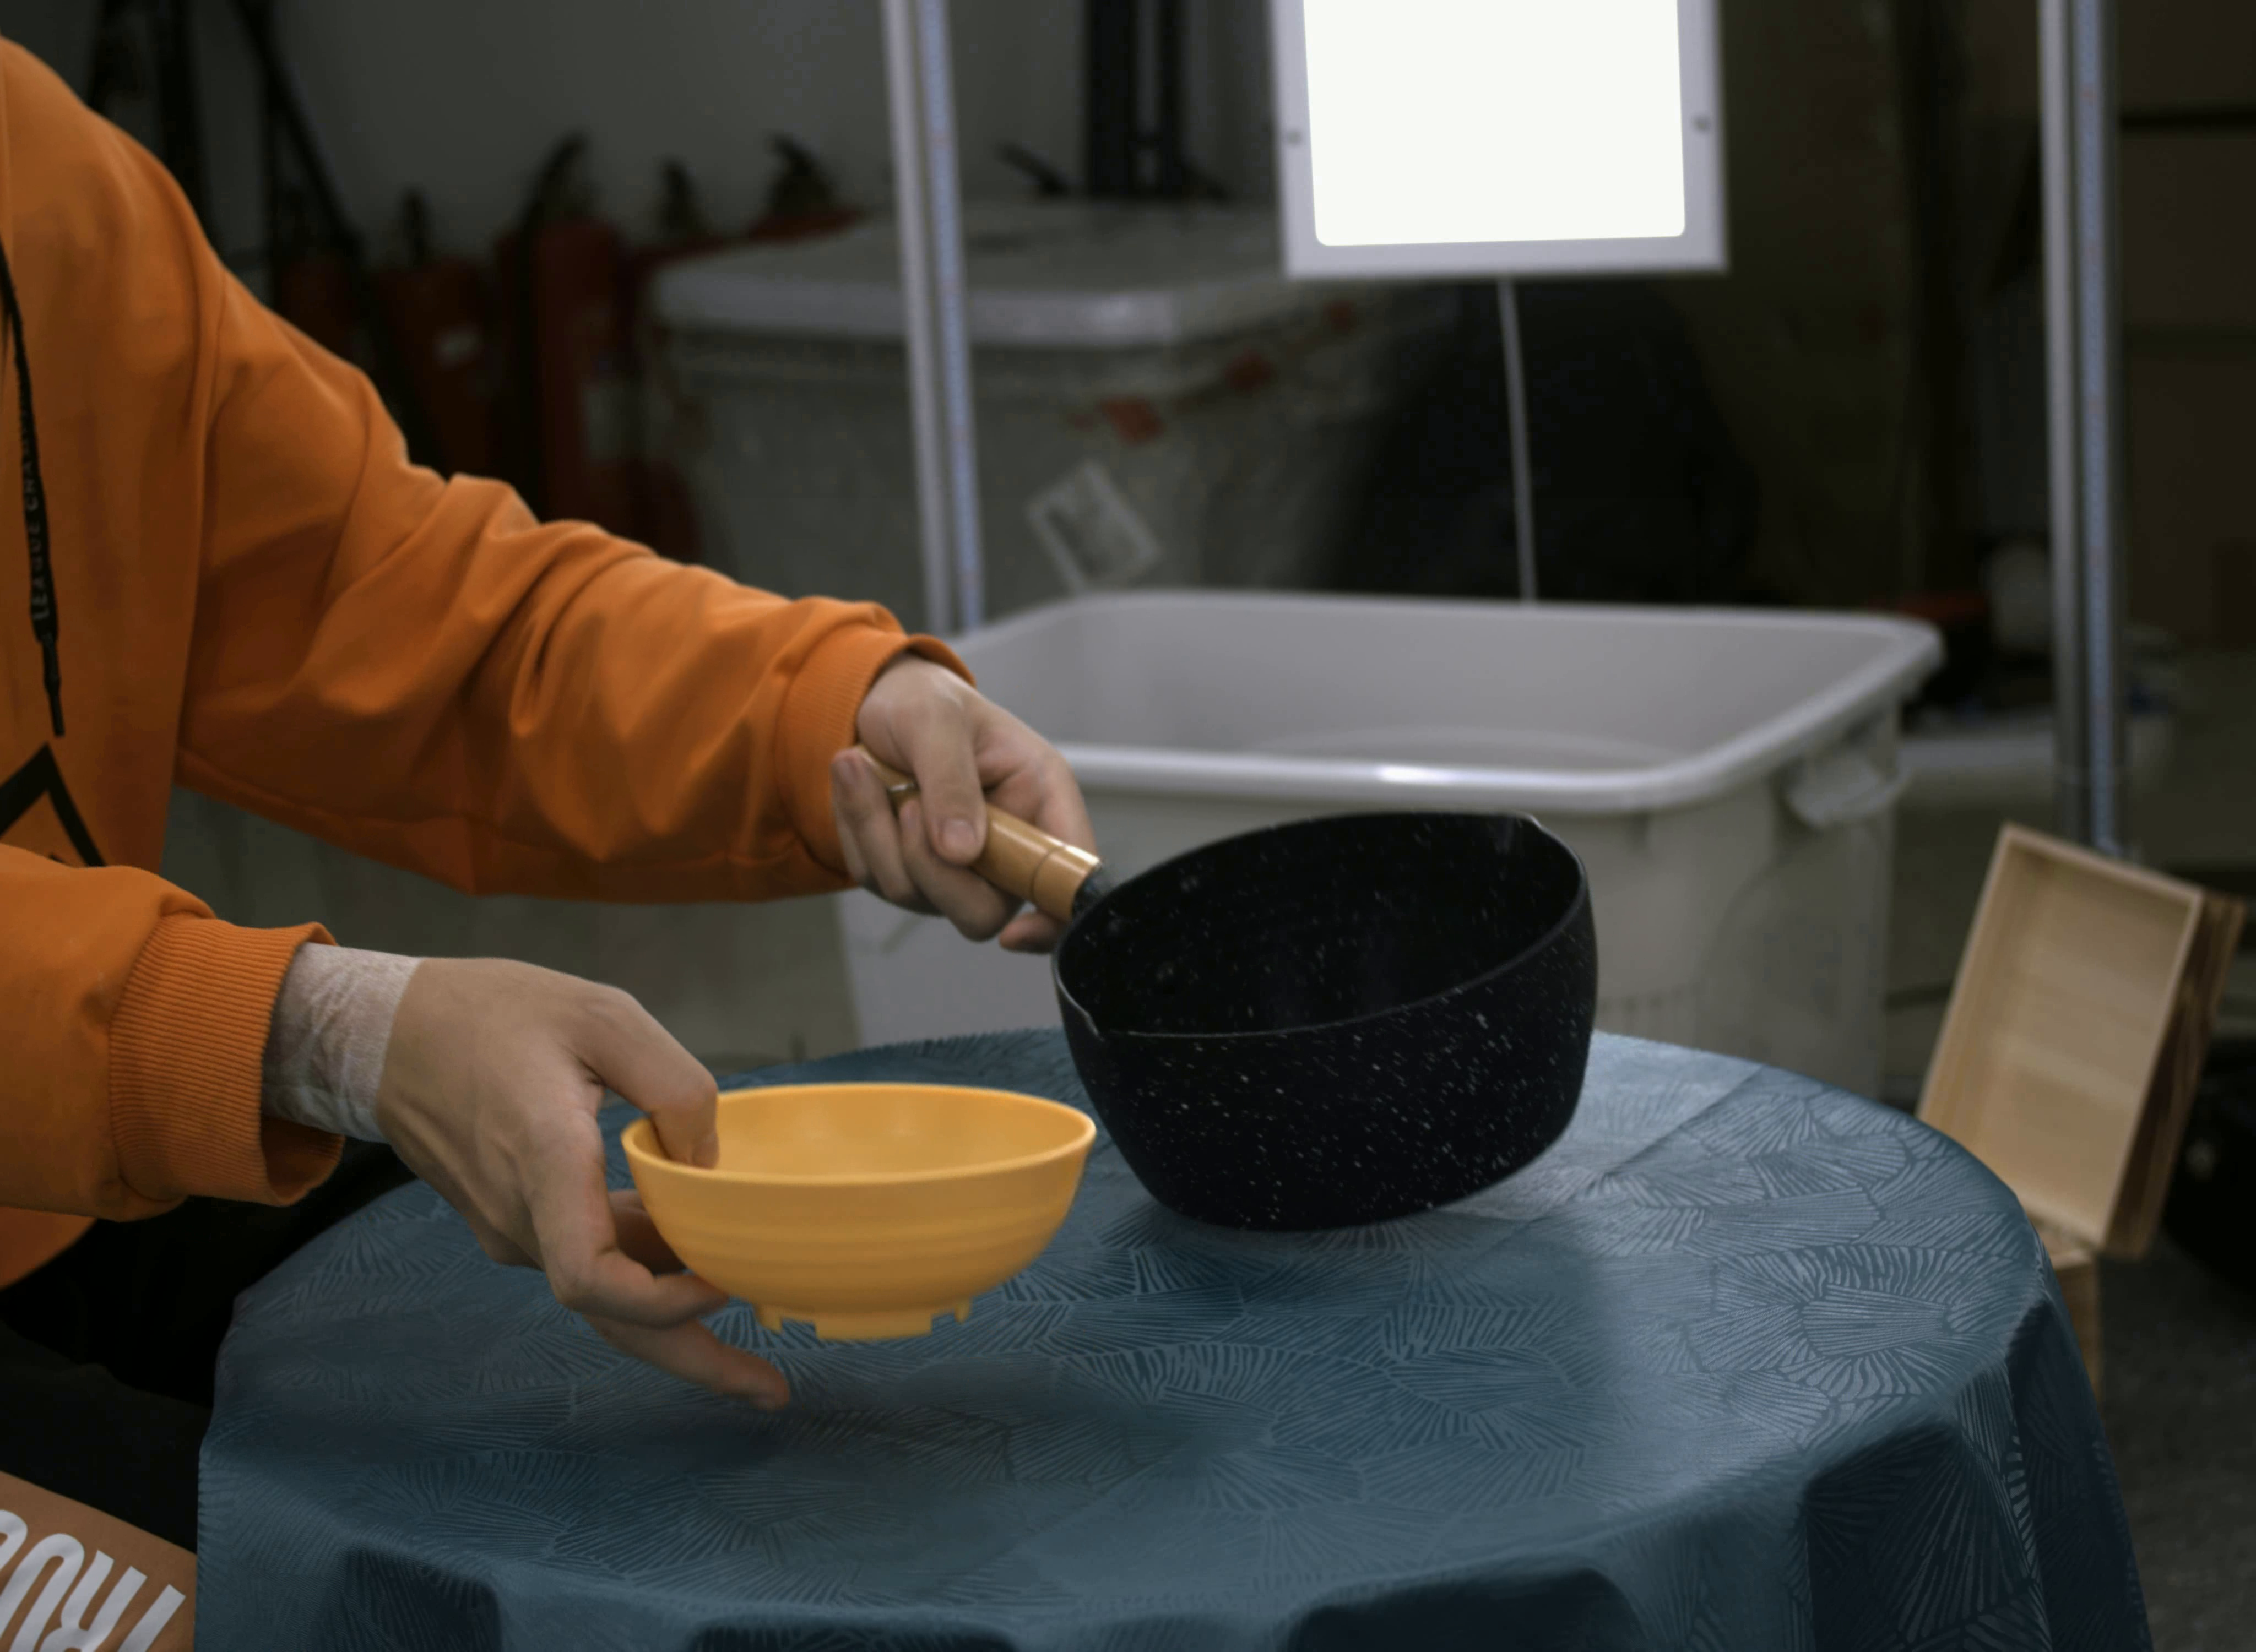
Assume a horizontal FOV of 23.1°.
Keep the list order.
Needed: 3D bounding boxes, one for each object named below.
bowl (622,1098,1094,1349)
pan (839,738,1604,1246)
[{"bbox_3d":[-0.082,0.124,1.681,0.145,0.060,0.145,-1,8,-1],"label":"bowl"},{"bbox_3d":[0.018,0.048,1.921,0.203,0.108,0.350,-28,27,-35],"label":"pan"}]
